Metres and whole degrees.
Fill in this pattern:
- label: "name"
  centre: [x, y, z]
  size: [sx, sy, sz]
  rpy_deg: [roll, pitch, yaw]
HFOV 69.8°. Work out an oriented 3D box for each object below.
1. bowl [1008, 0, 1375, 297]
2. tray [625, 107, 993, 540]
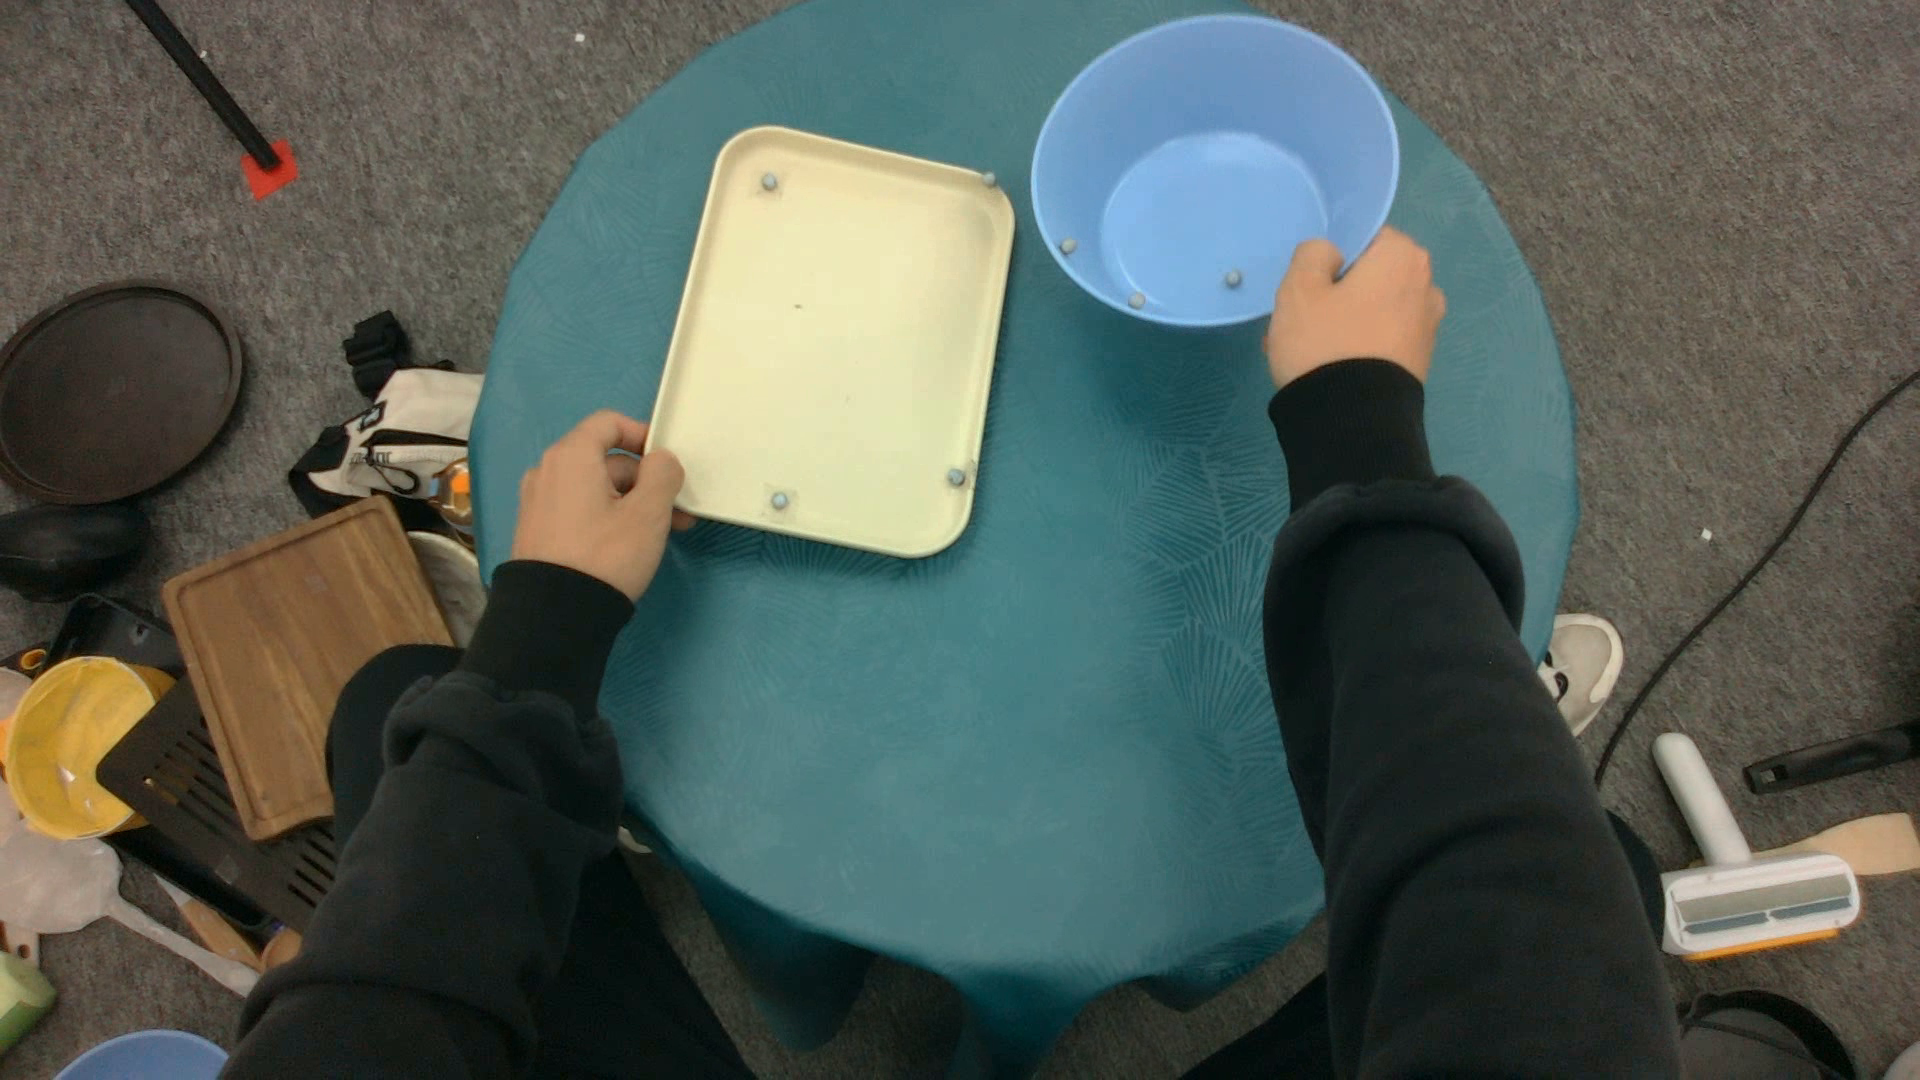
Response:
- label: "bowl"
  centre: [0.117, -0.190, 0.693]
  size: [0.176, 0.070, 0.176]
  rpy_deg: [-4, 73, 13]
- label: "tray"
  centre: [-0.076, -0.119, 0.742]
  size: [0.171, 0.017, 0.240]
  rpy_deg: [11, 69, -8]
